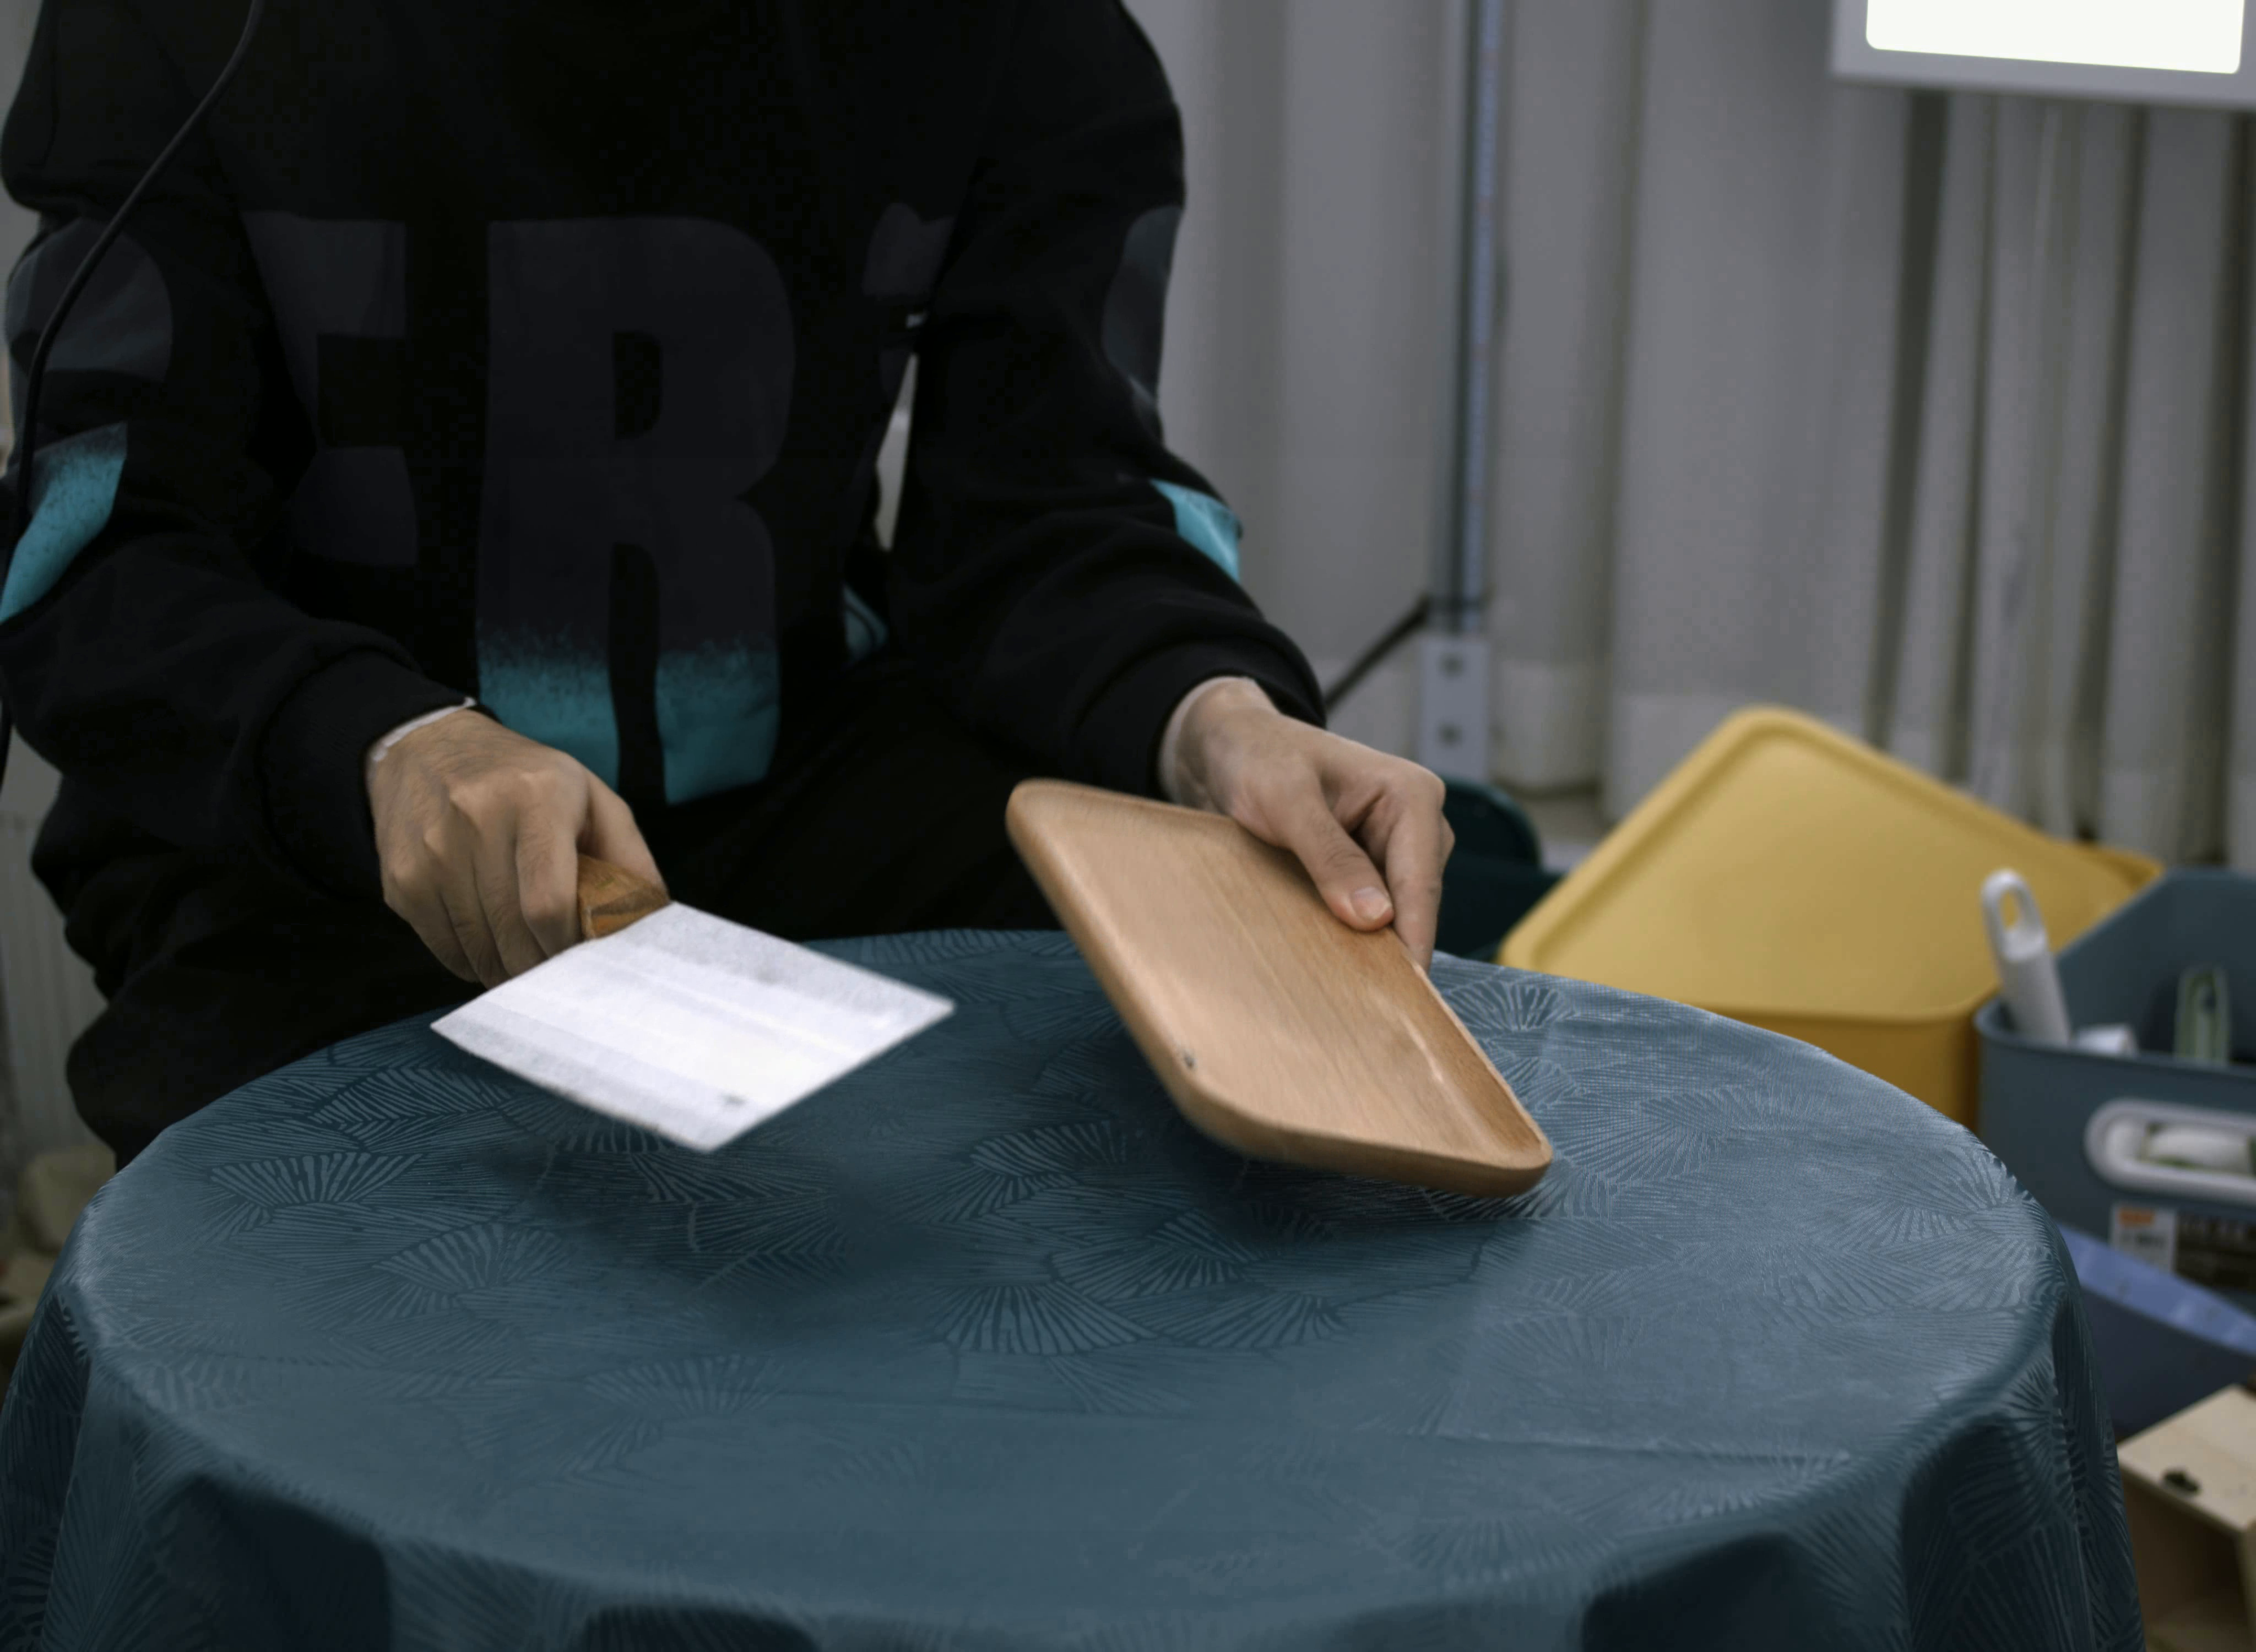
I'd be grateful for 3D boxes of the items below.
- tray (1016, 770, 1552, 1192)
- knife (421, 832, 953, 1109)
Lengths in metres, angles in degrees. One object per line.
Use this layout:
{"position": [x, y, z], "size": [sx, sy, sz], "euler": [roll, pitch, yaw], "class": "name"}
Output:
{"position": [0.045, 0.047, 1.682], "size": [0.131, 0.023, 0.248], "euler": [17, 17, -22], "class": "tray"}
{"position": [-0.163, 0.046, 1.639], "size": [0.093, 0.021, 0.302], "euler": [-31, 23, -25], "class": "knife"}
